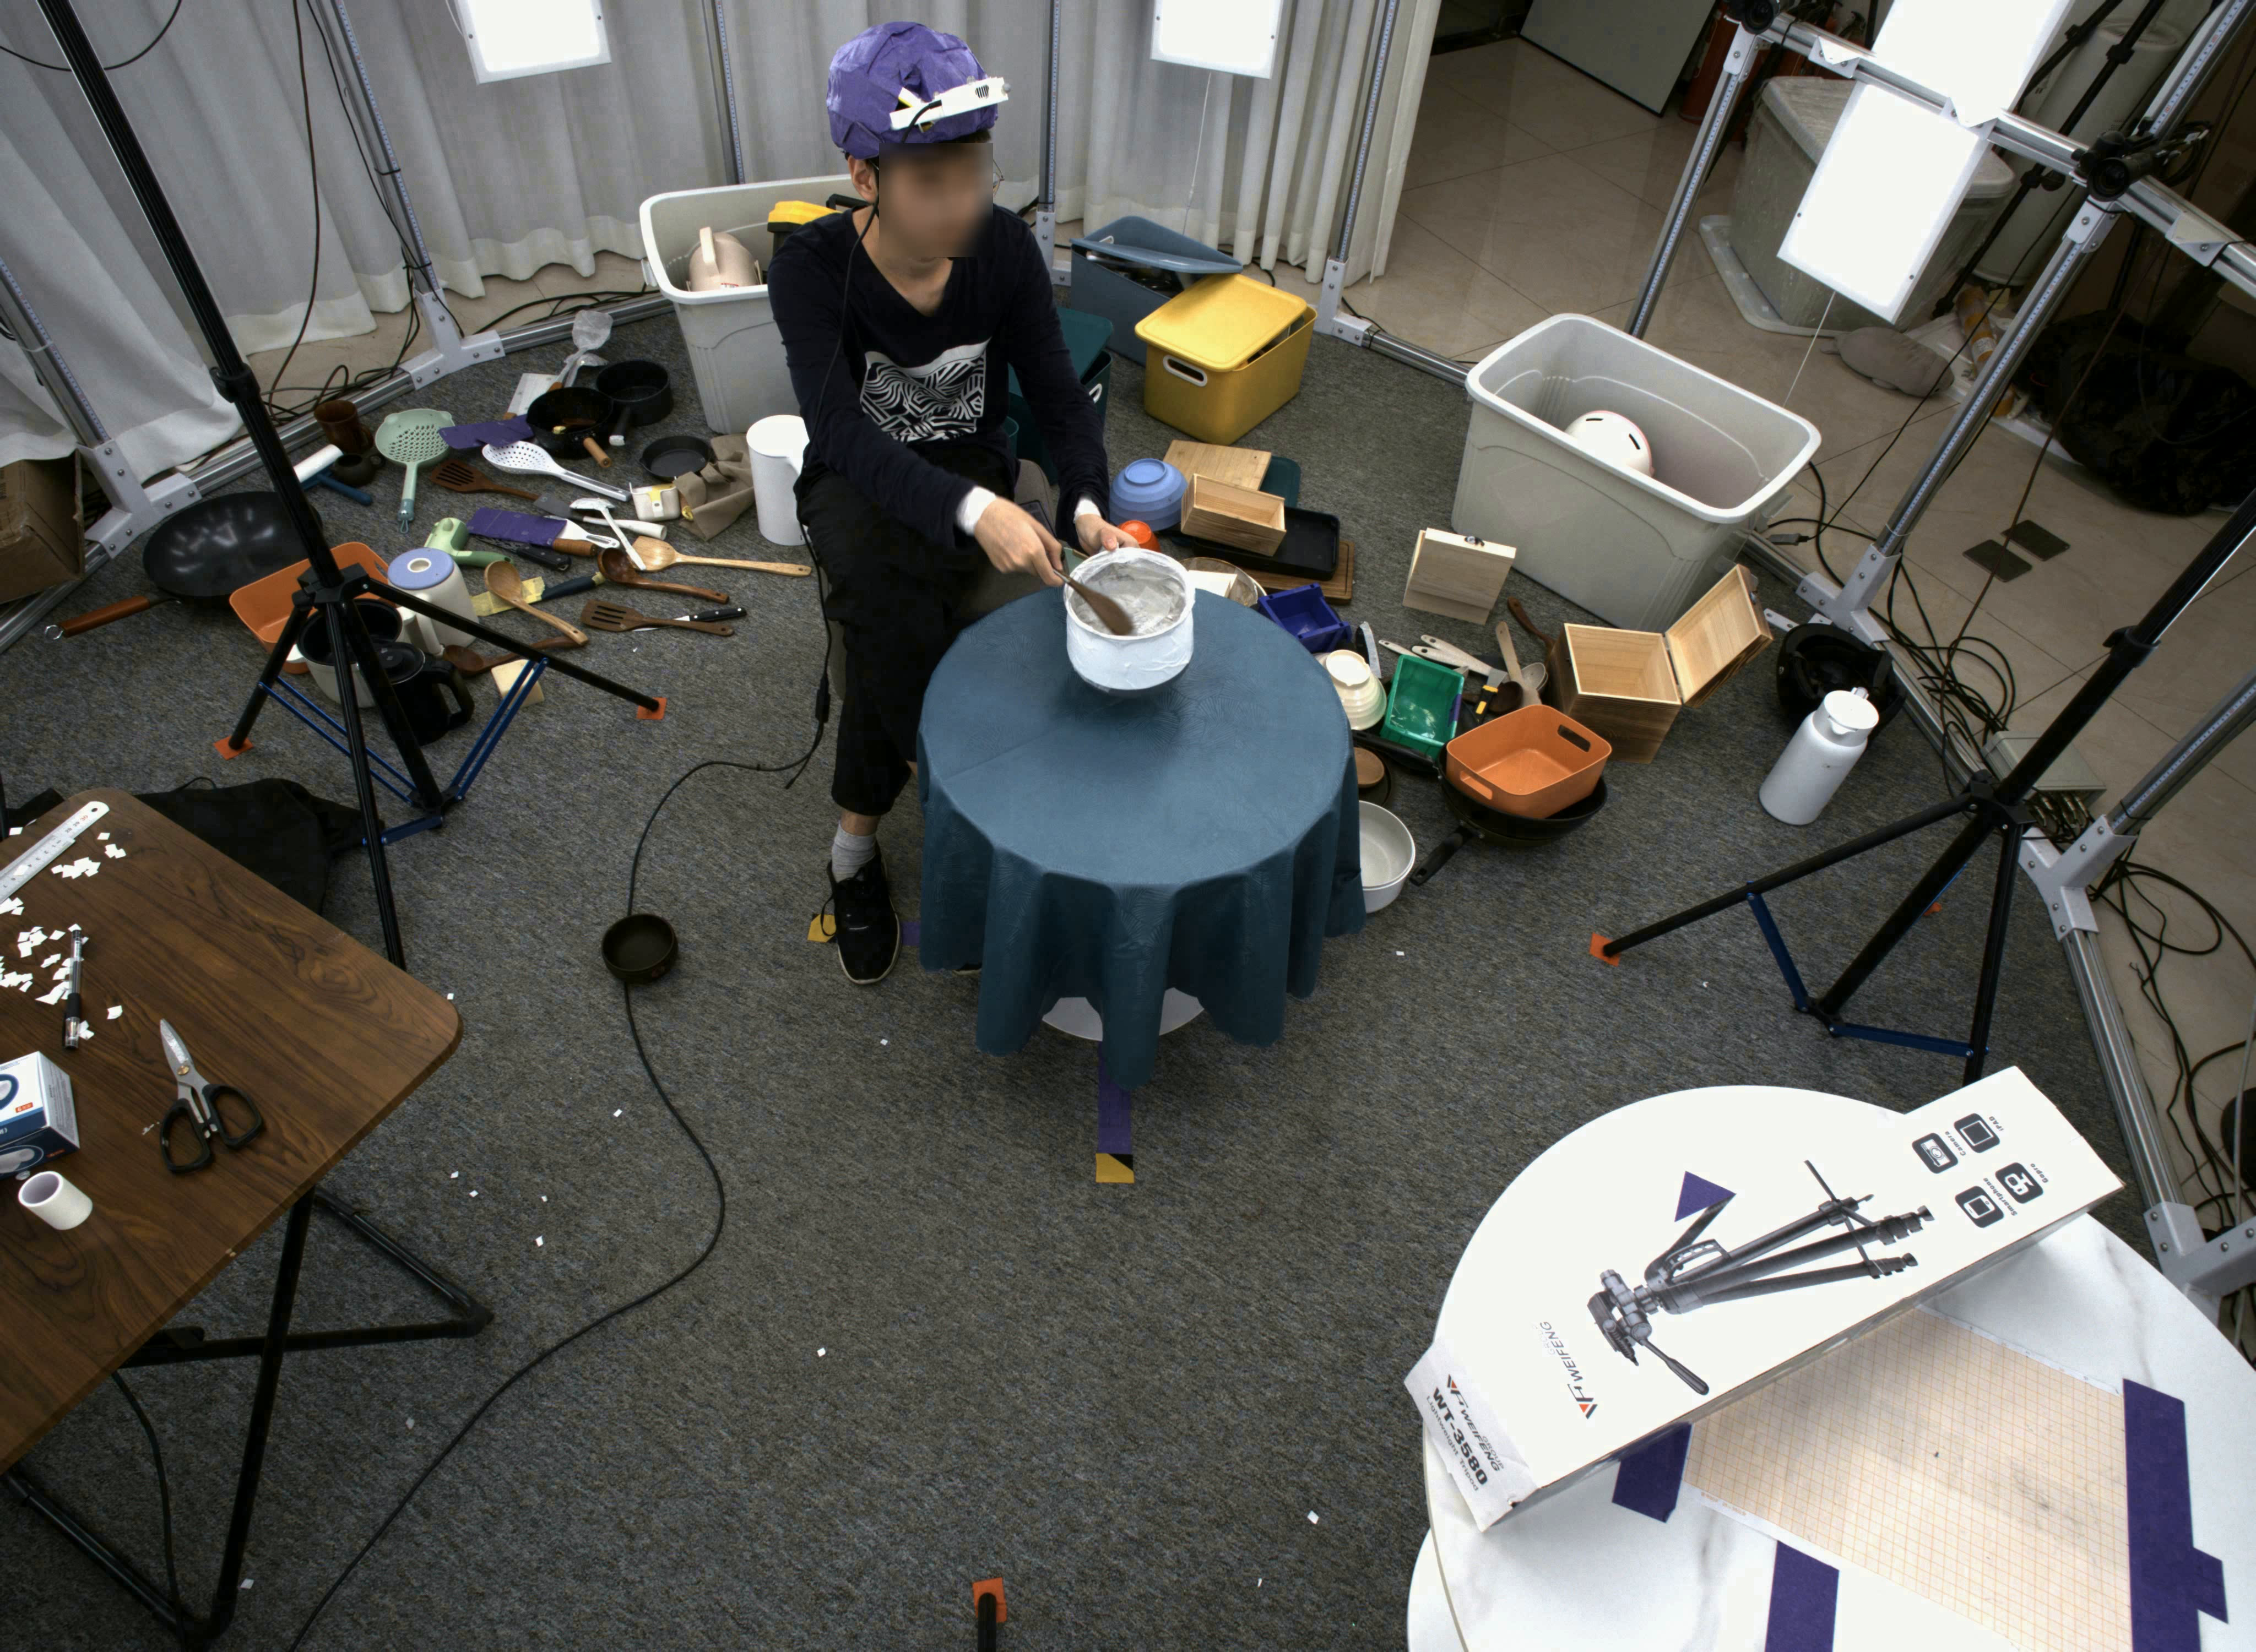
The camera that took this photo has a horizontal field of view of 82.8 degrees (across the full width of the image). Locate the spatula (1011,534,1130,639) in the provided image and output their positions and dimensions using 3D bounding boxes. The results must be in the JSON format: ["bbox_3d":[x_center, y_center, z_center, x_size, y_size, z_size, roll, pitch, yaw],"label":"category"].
[{"bbox_3d":[-0.074,-0.316,1.710,0.213,0.009,0.073,39,29,-20],"label":"spatula"}]

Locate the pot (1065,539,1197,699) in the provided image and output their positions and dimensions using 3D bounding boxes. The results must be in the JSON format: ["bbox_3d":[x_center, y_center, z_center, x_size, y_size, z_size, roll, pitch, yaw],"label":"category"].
[{"bbox_3d":[-0.004,-0.296,1.780,0.178,0.133,0.239,-12,54,-10],"label":"pot"}]
